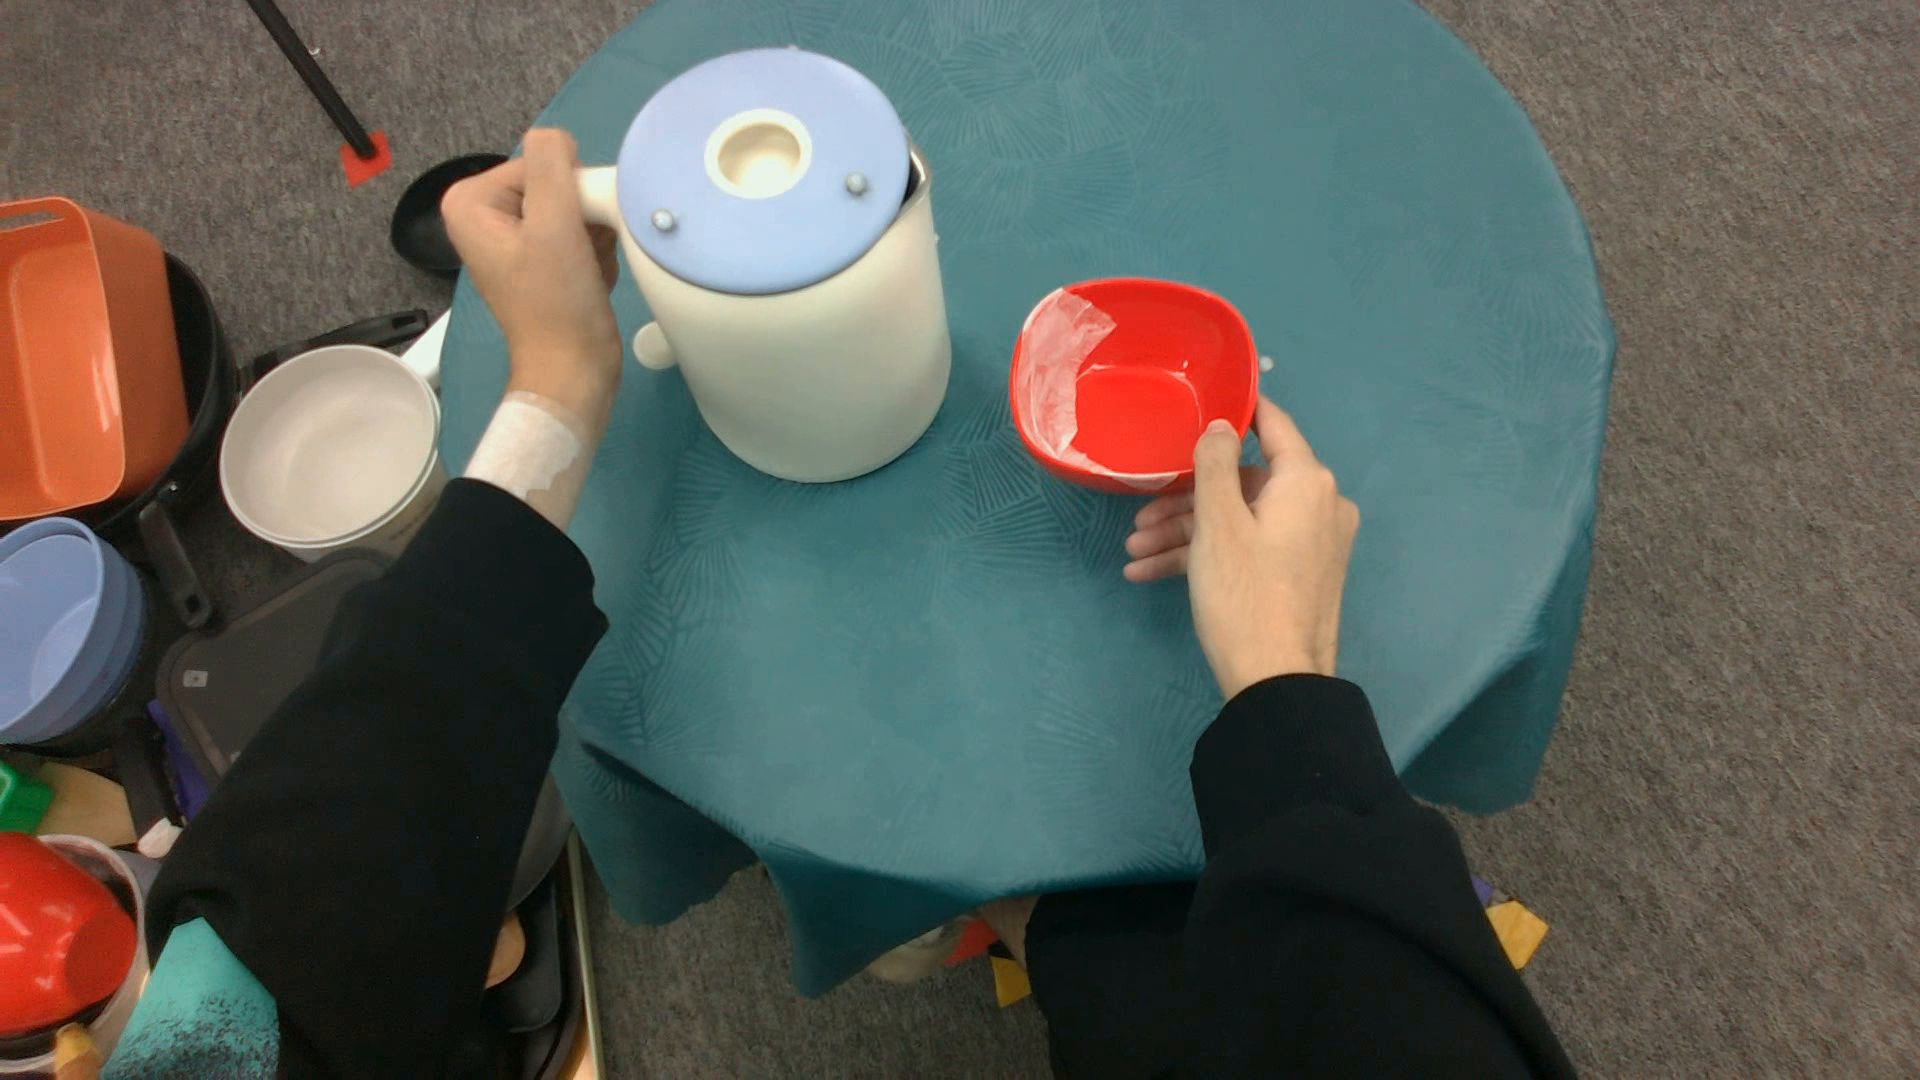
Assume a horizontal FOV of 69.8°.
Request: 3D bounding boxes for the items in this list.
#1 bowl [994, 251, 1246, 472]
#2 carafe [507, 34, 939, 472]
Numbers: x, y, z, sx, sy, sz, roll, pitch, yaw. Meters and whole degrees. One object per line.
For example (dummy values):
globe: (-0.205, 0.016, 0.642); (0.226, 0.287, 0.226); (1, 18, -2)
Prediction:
bowl: (0.071, -0.073, 0.627); (0.119, 0.051, 0.119); (-1, 61, 2)
carafe: (-0.105, -0.124, 0.628); (0.191, 0.182, 0.132); (1, 66, 5)
